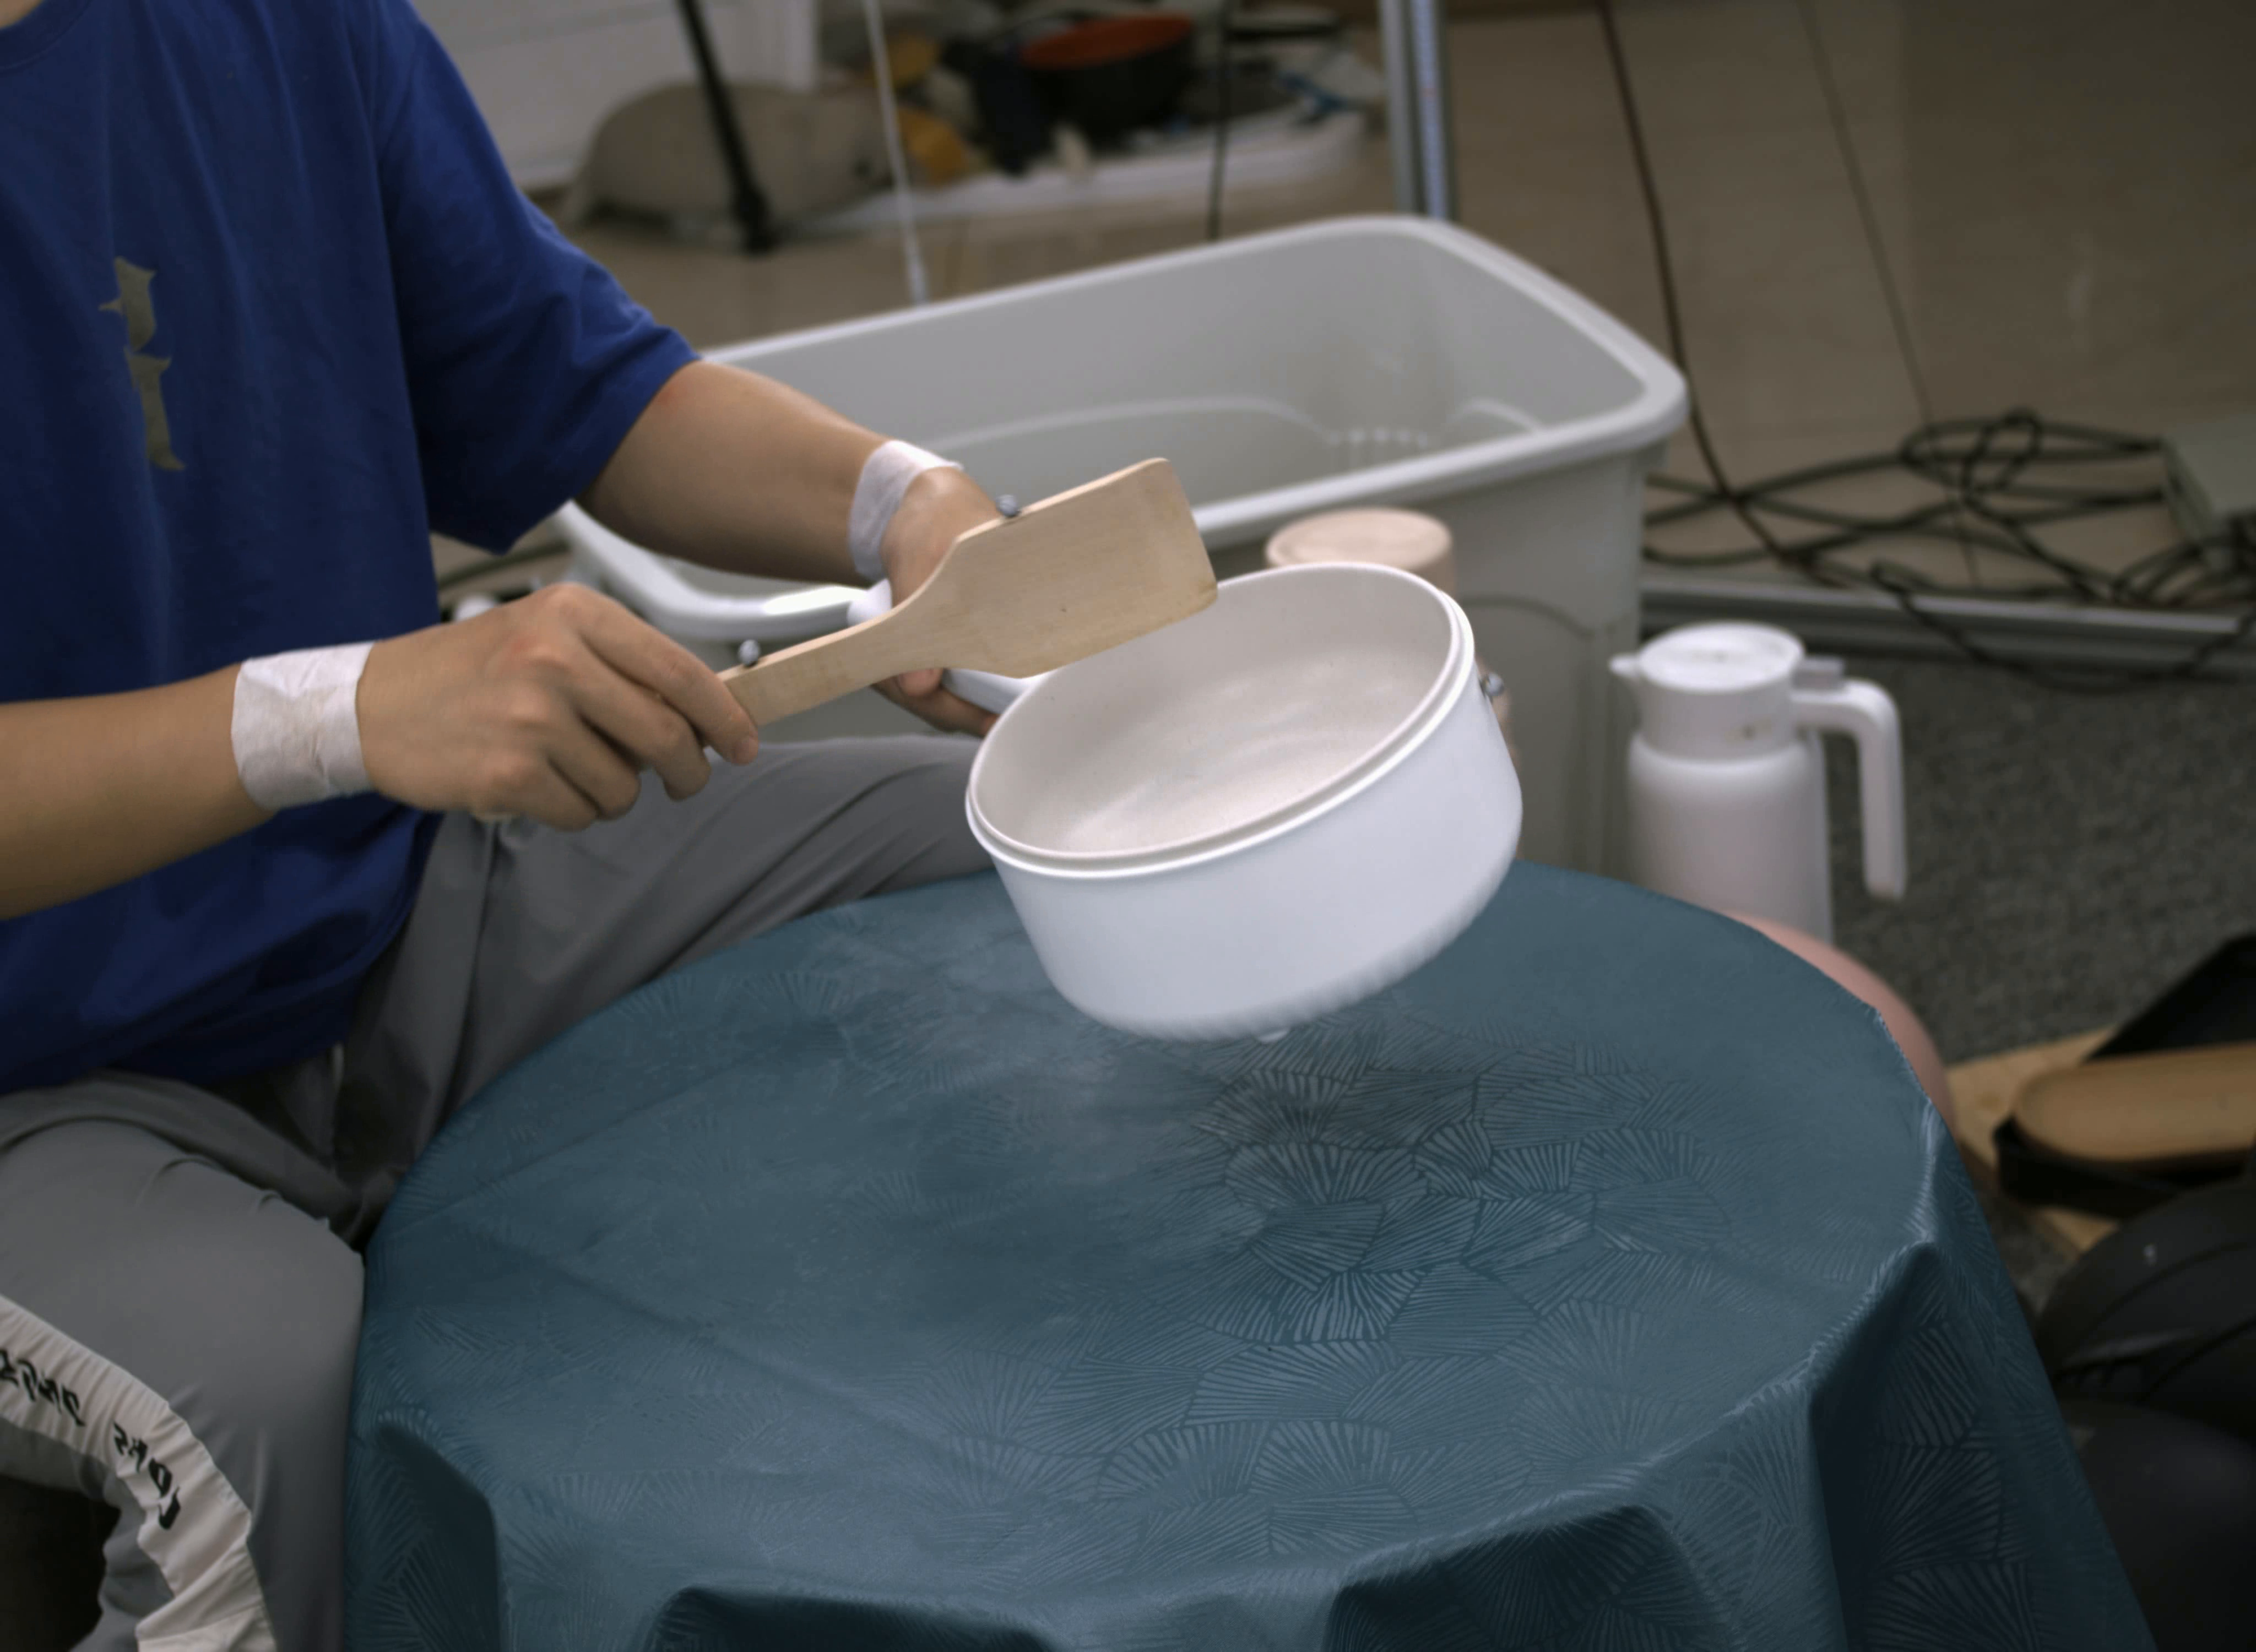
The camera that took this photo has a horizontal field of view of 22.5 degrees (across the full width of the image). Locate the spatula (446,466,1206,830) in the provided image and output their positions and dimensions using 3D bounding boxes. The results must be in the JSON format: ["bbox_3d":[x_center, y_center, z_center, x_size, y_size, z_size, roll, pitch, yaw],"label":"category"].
[{"bbox_3d":[-0.116,-0.058,2.099,0.293,0.073,0.010,-20,38,4],"label":"spatula"}]

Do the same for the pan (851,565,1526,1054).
[{"bbox_3d":[0.009,-0.019,2.197,0.200,0.104,0.351,-37,31,-20],"label":"pan"}]
